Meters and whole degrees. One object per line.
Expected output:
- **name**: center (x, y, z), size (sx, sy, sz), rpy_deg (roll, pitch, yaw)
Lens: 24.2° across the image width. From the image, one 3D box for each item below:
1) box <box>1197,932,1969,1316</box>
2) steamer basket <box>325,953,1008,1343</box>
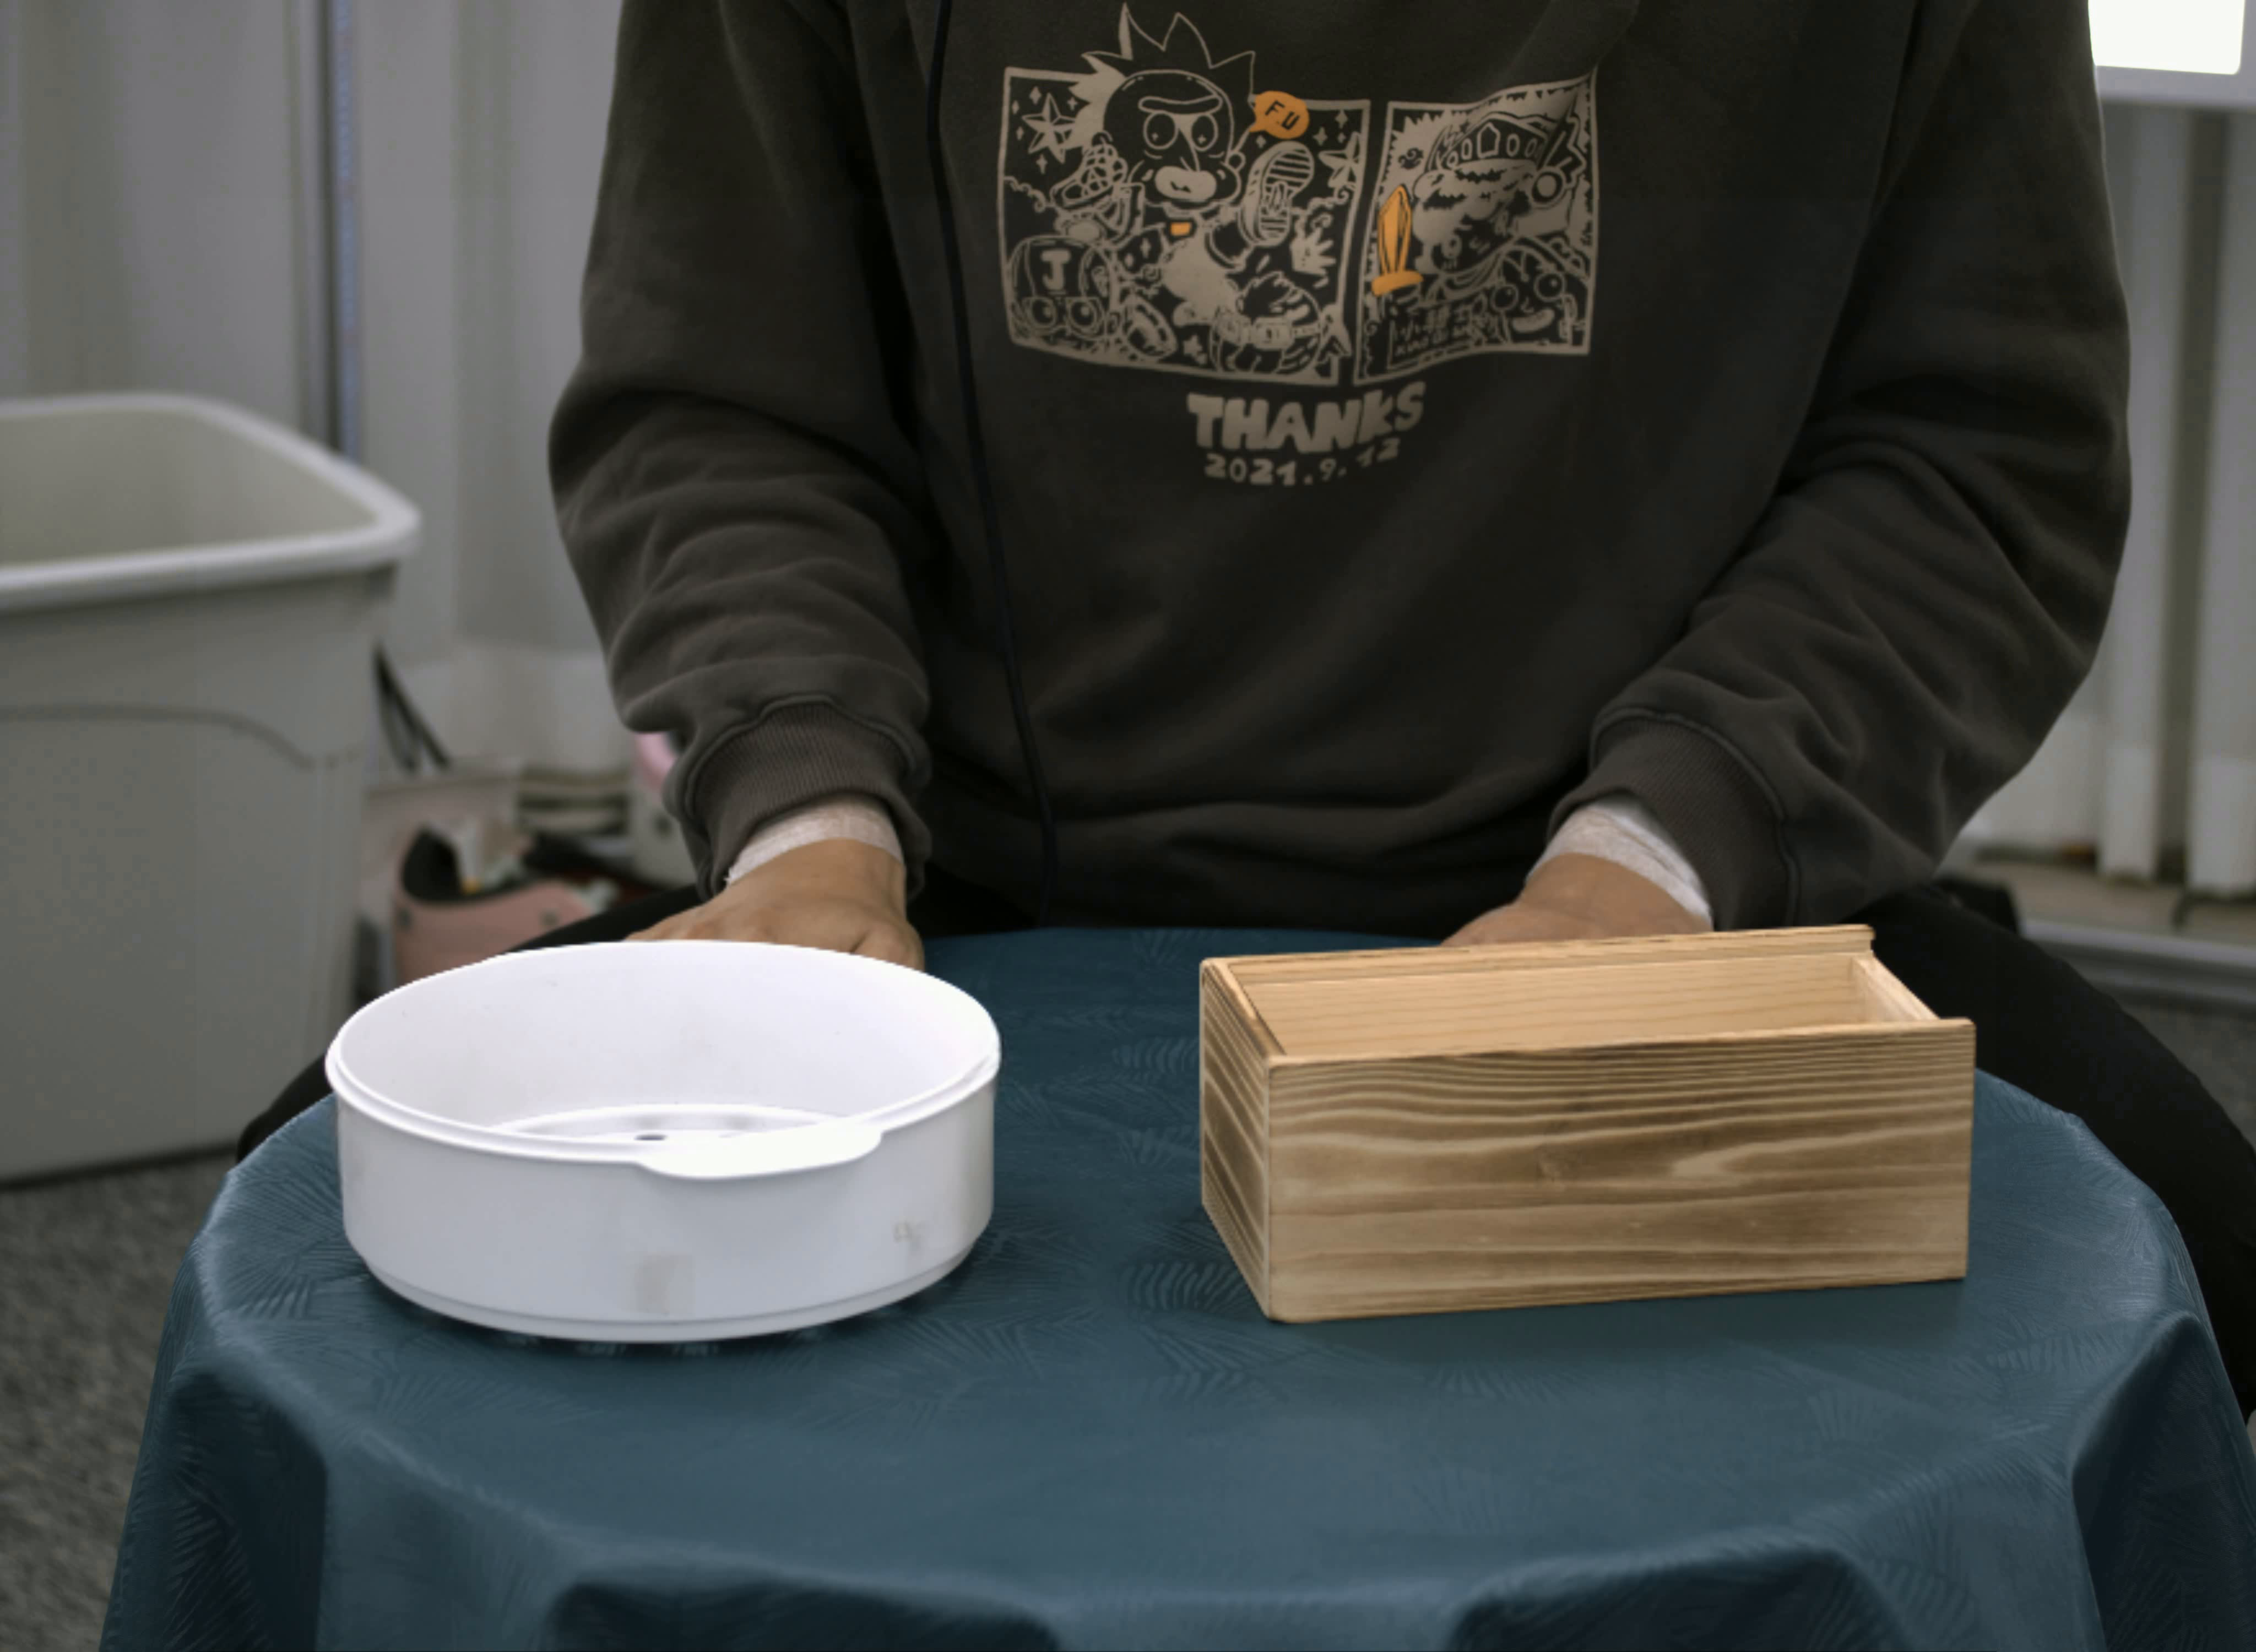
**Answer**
- **box**: center (0.133, 0.087, 1.576), size (0.211, 0.081, 0.106), rpy_deg (-2, 15, -11)
- **steamer basket**: center (-0.136, 0.095, 1.563), size (0.202, 0.070, 0.228), rpy_deg (-4, 15, -21)
